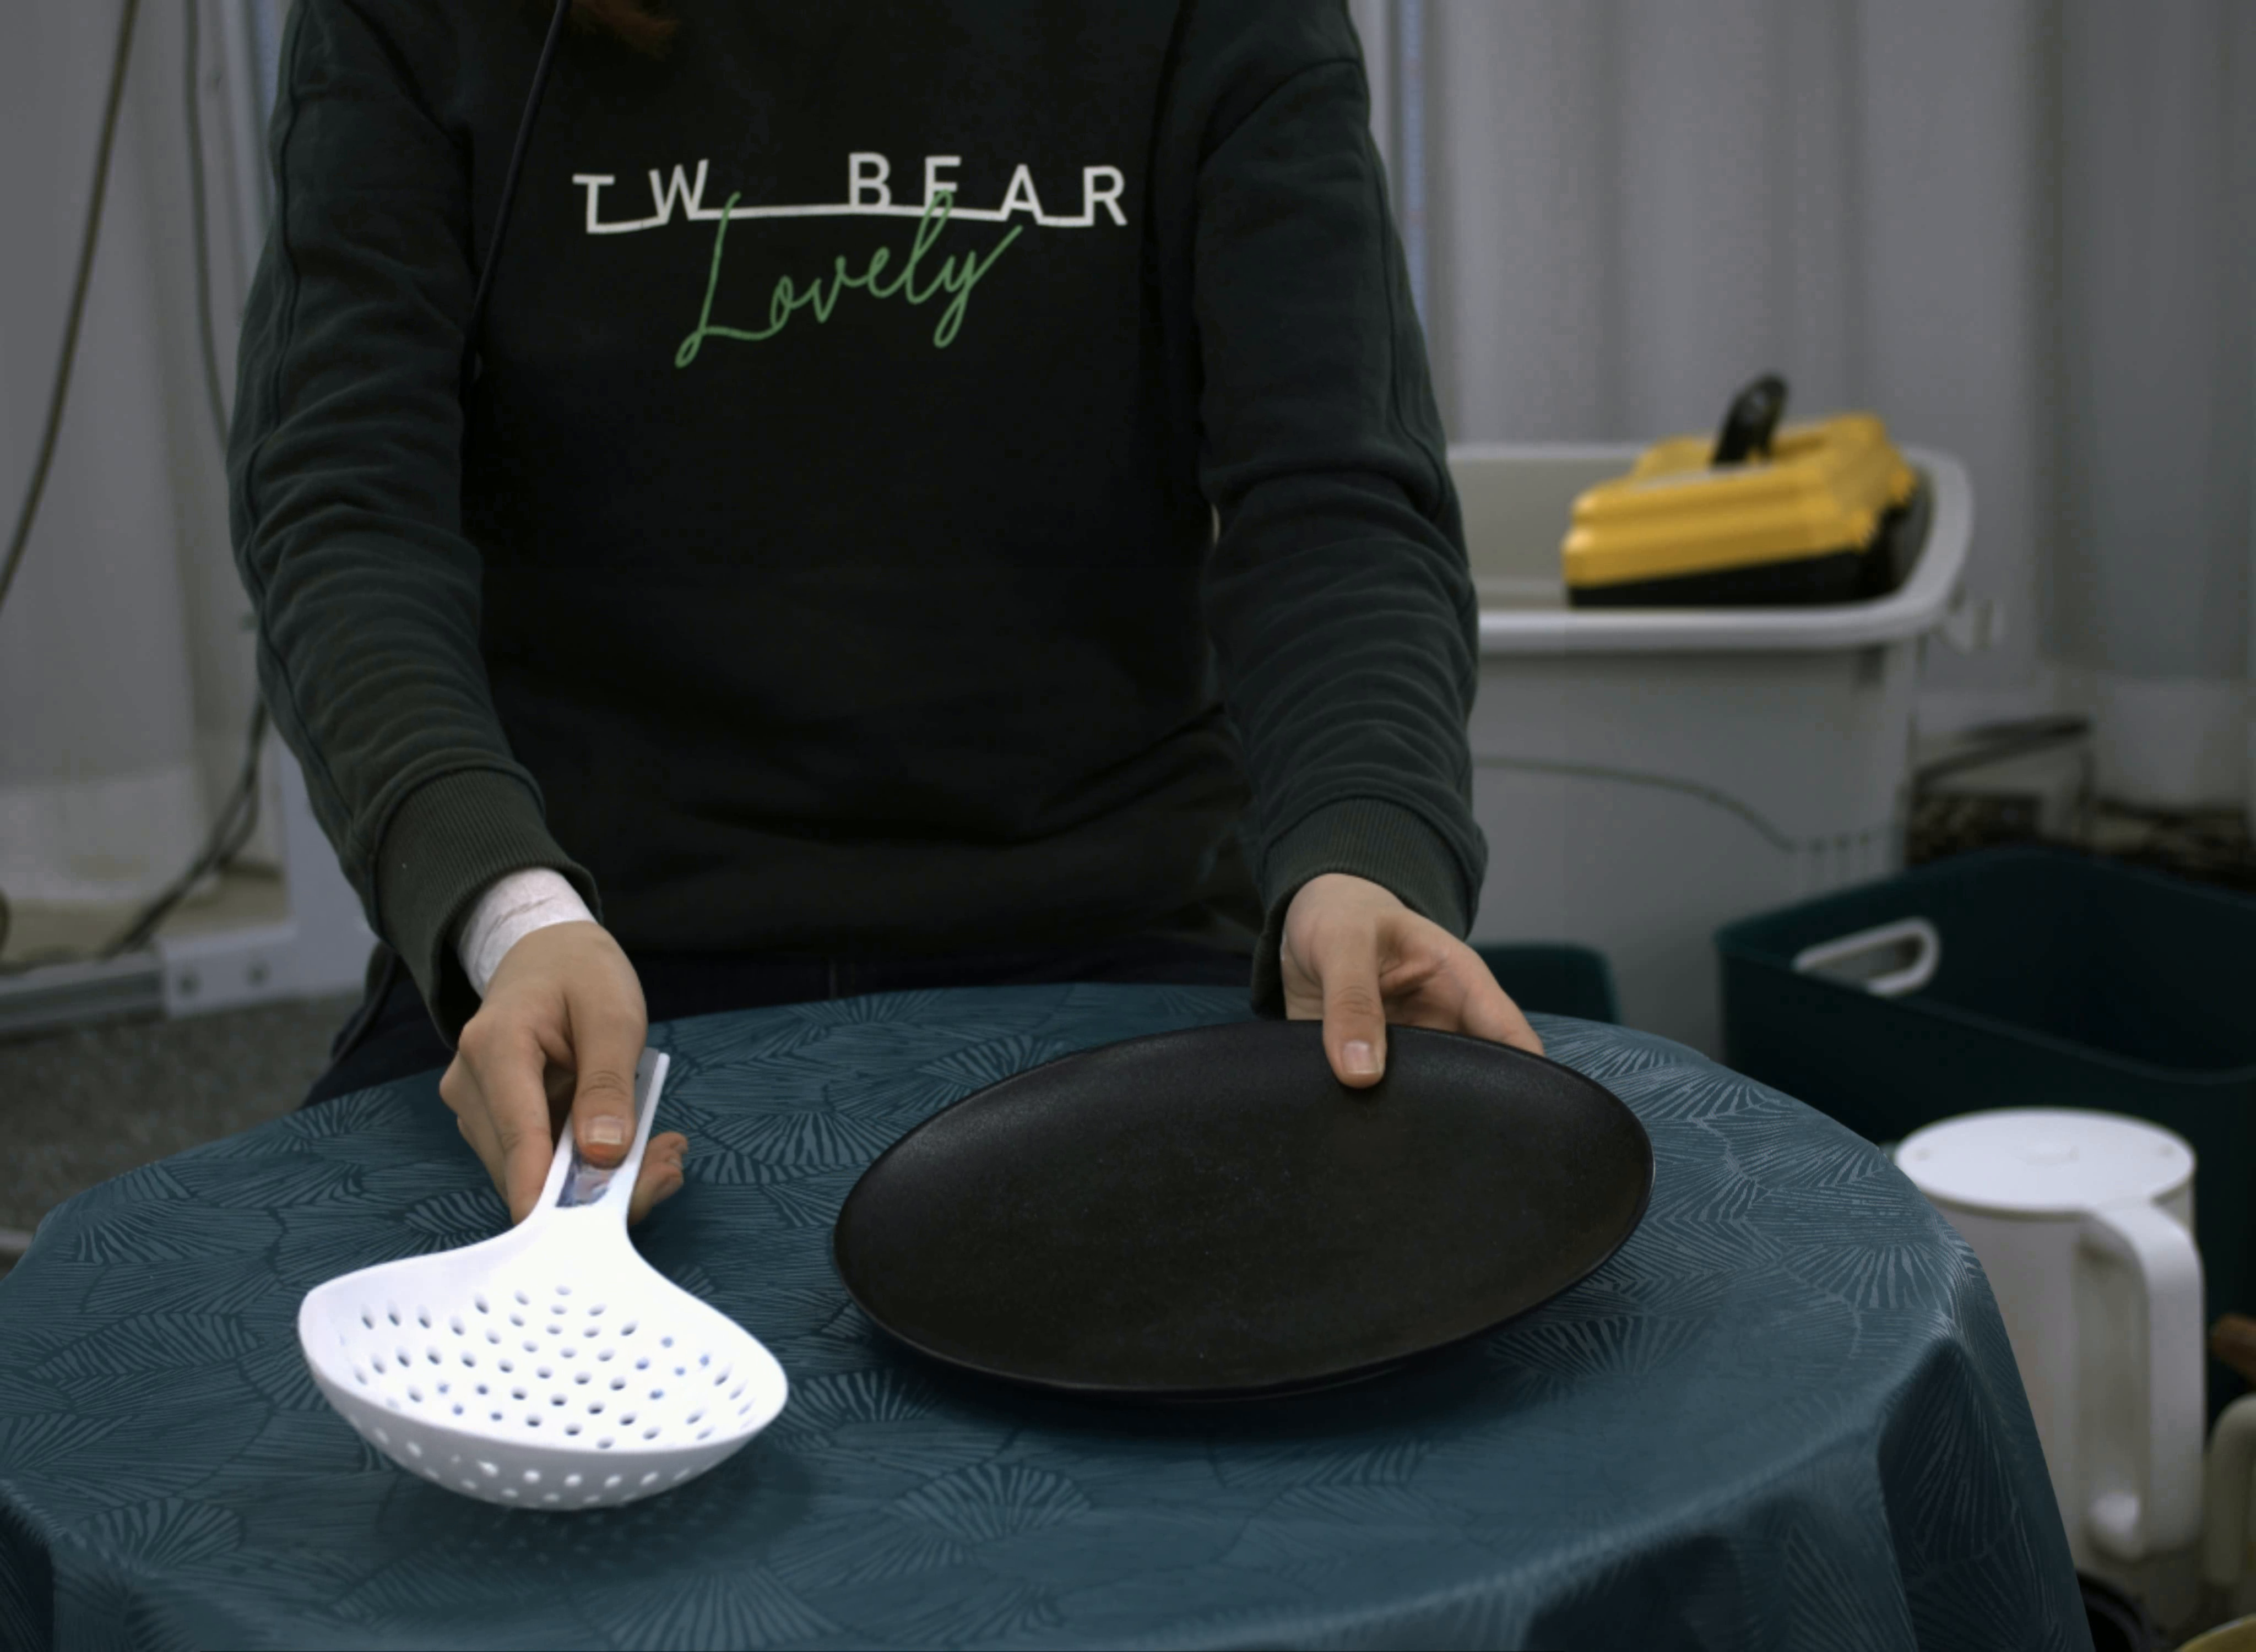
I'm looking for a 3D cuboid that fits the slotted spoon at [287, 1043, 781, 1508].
[{"bbox_3d":[-0.161,0.122,1.589,0.135,0.045,0.353,10,19,-2],"label":"slotted spoon"}]

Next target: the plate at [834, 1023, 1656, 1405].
[{"bbox_3d":[0.035,0.117,1.609,0.243,0.023,0.247,-6,22,2],"label":"plate"}]
